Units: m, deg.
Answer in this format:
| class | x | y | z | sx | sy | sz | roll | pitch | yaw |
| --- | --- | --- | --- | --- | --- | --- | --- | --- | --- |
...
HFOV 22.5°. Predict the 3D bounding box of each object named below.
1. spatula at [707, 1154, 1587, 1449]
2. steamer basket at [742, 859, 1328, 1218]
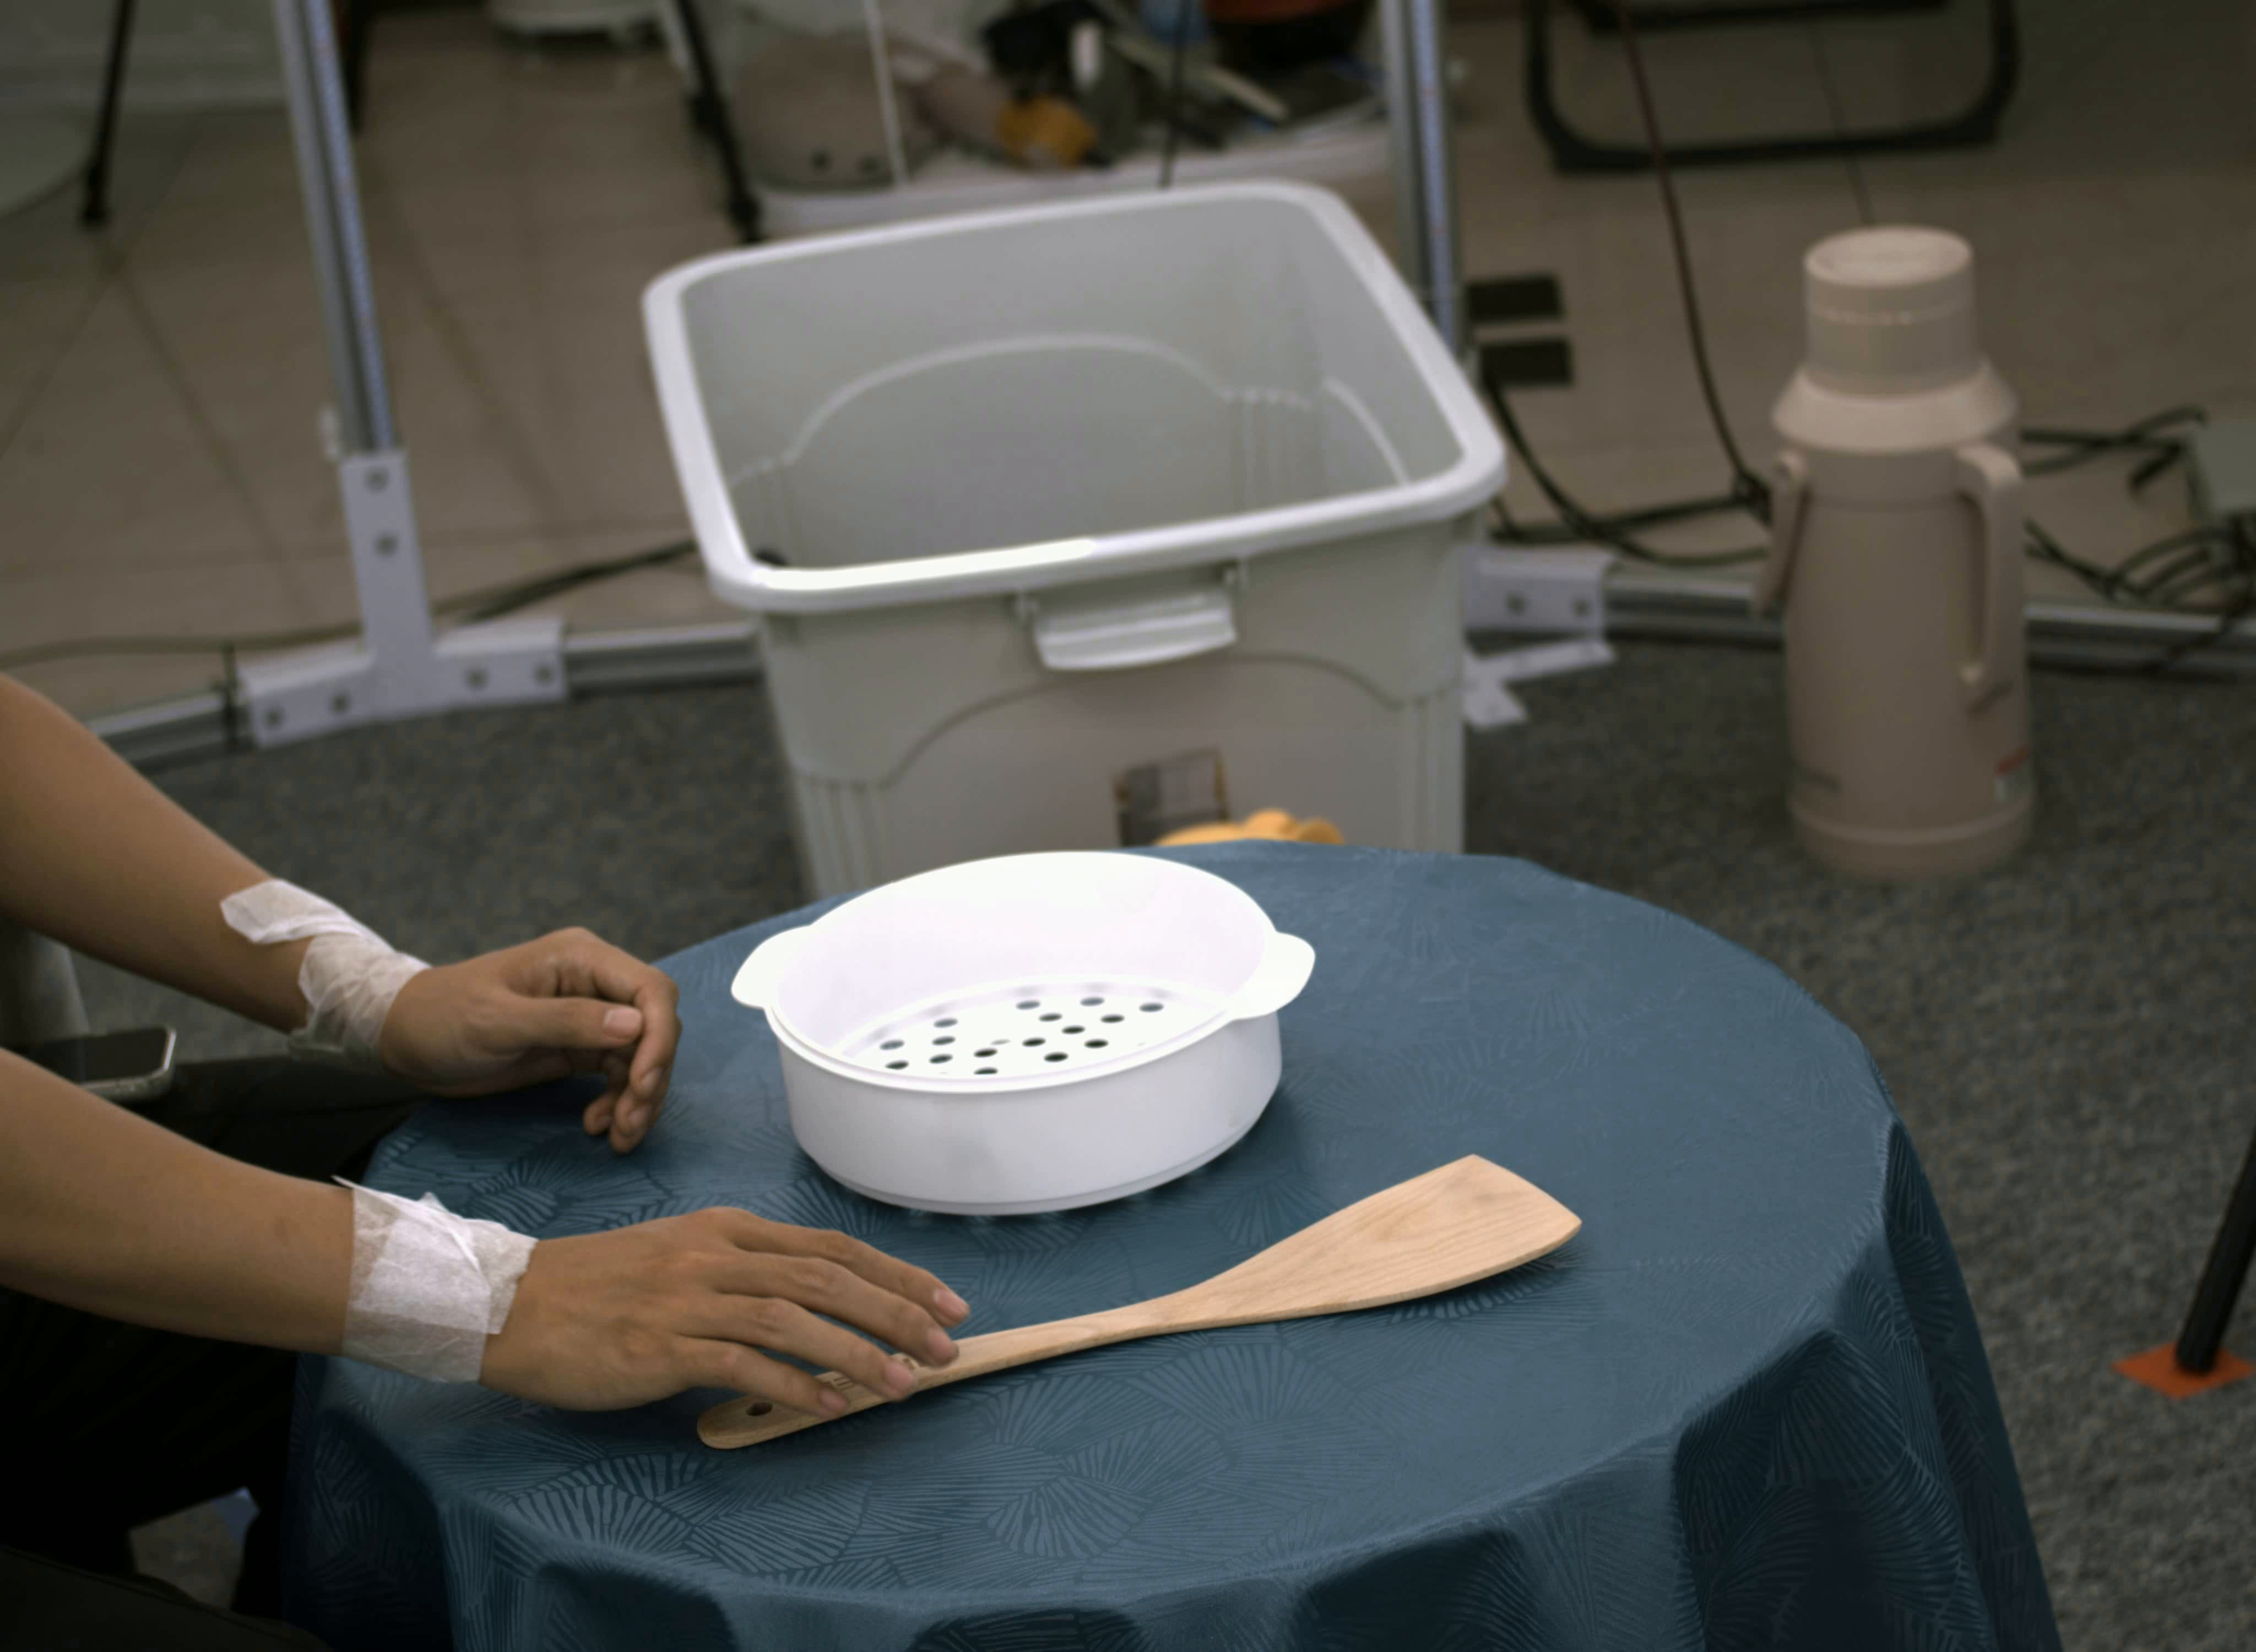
| class | x | y | z | sx | sy | sz | roll | pitch | yaw |
| --- | --- | --- | --- | --- | --- | --- | --- | --- | --- |
| spatula | 0.004 | 0.174 | 2.054 | 0.326 | 0.017 | 0.079 | -14 | 25 | -14 |
| steamer basket | -0.034 | 0.082 | 2.202 | 0.230 | 0.070 | 0.199 | 1 | 24 | 16 |
